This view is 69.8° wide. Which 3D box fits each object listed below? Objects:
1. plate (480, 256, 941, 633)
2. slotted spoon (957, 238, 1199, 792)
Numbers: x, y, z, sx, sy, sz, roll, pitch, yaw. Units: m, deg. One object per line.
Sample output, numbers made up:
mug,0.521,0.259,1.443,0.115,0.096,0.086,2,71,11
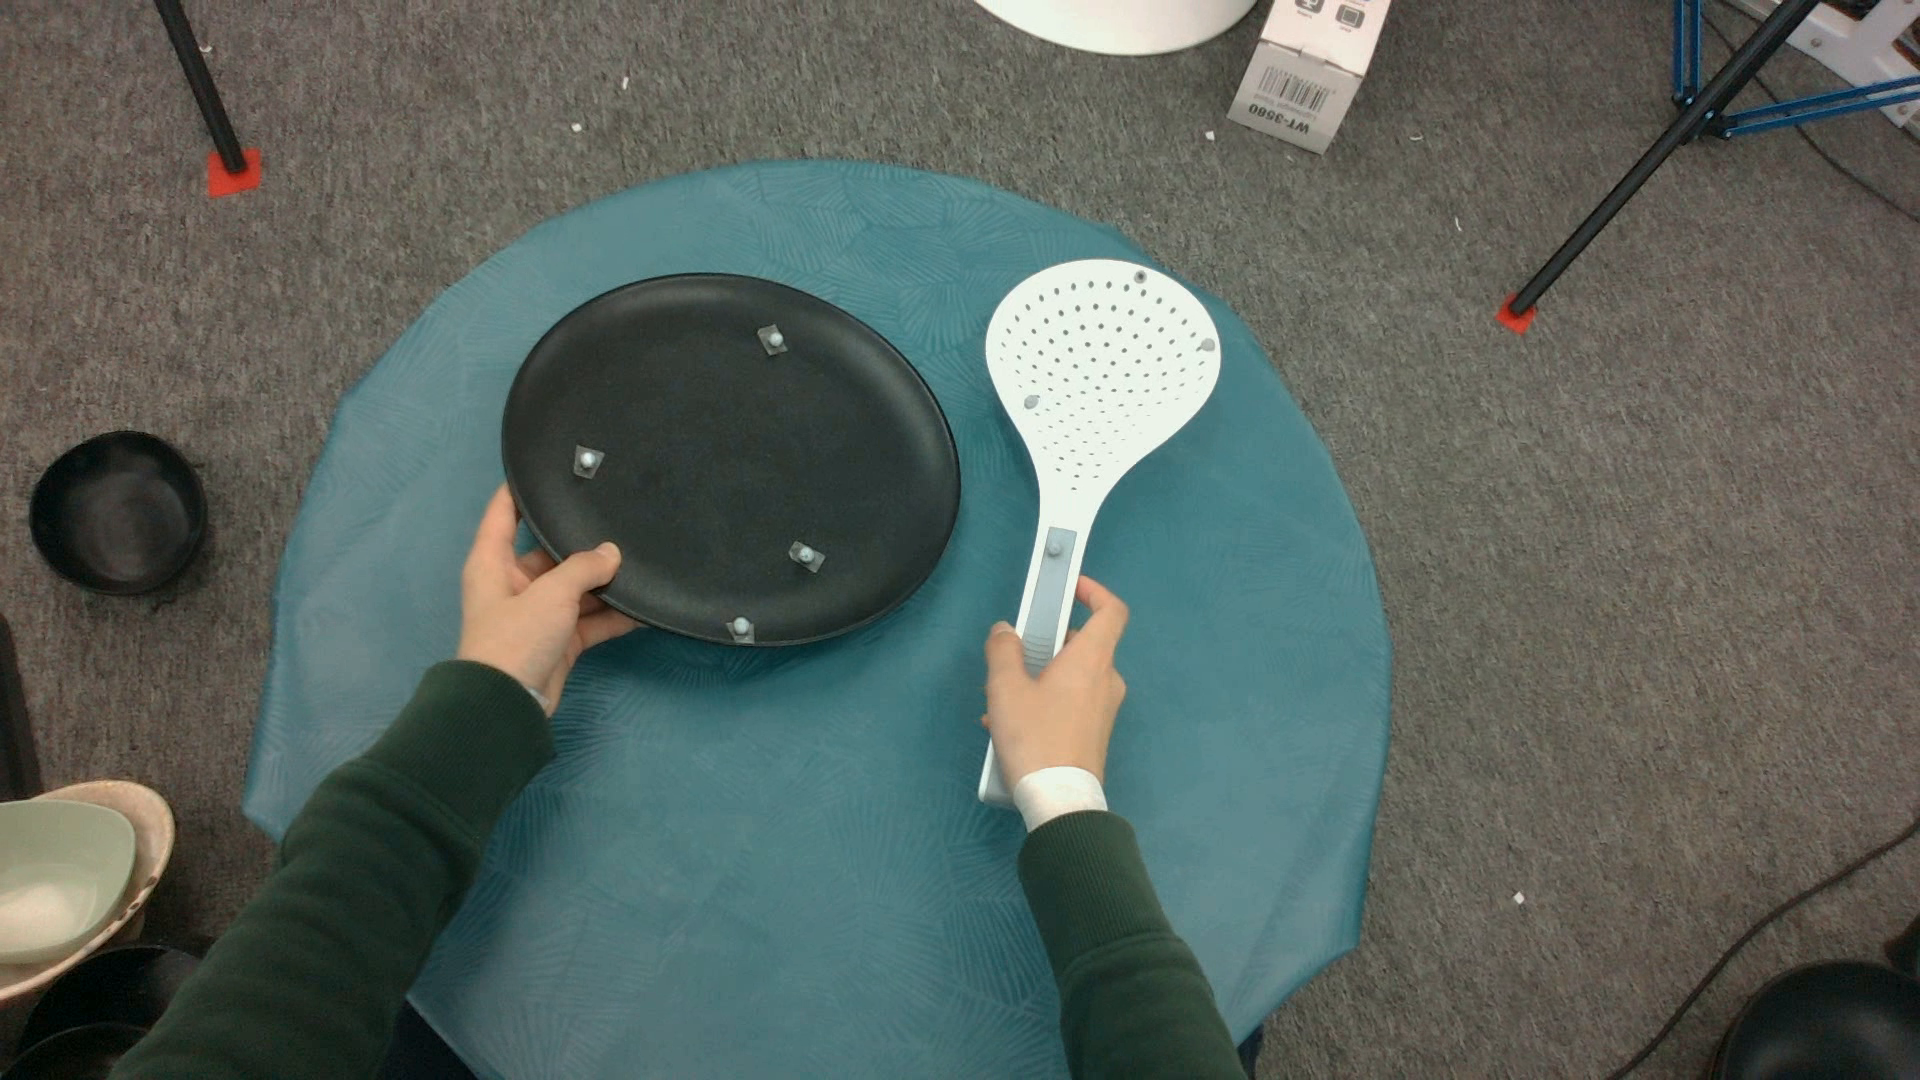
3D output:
plate,-0.130,-0.054,0.741,0.244,0.023,0.245,10,56,-15
slotted spoon,0.049,-0.028,0.754,0.136,0.045,0.351,10,56,7
